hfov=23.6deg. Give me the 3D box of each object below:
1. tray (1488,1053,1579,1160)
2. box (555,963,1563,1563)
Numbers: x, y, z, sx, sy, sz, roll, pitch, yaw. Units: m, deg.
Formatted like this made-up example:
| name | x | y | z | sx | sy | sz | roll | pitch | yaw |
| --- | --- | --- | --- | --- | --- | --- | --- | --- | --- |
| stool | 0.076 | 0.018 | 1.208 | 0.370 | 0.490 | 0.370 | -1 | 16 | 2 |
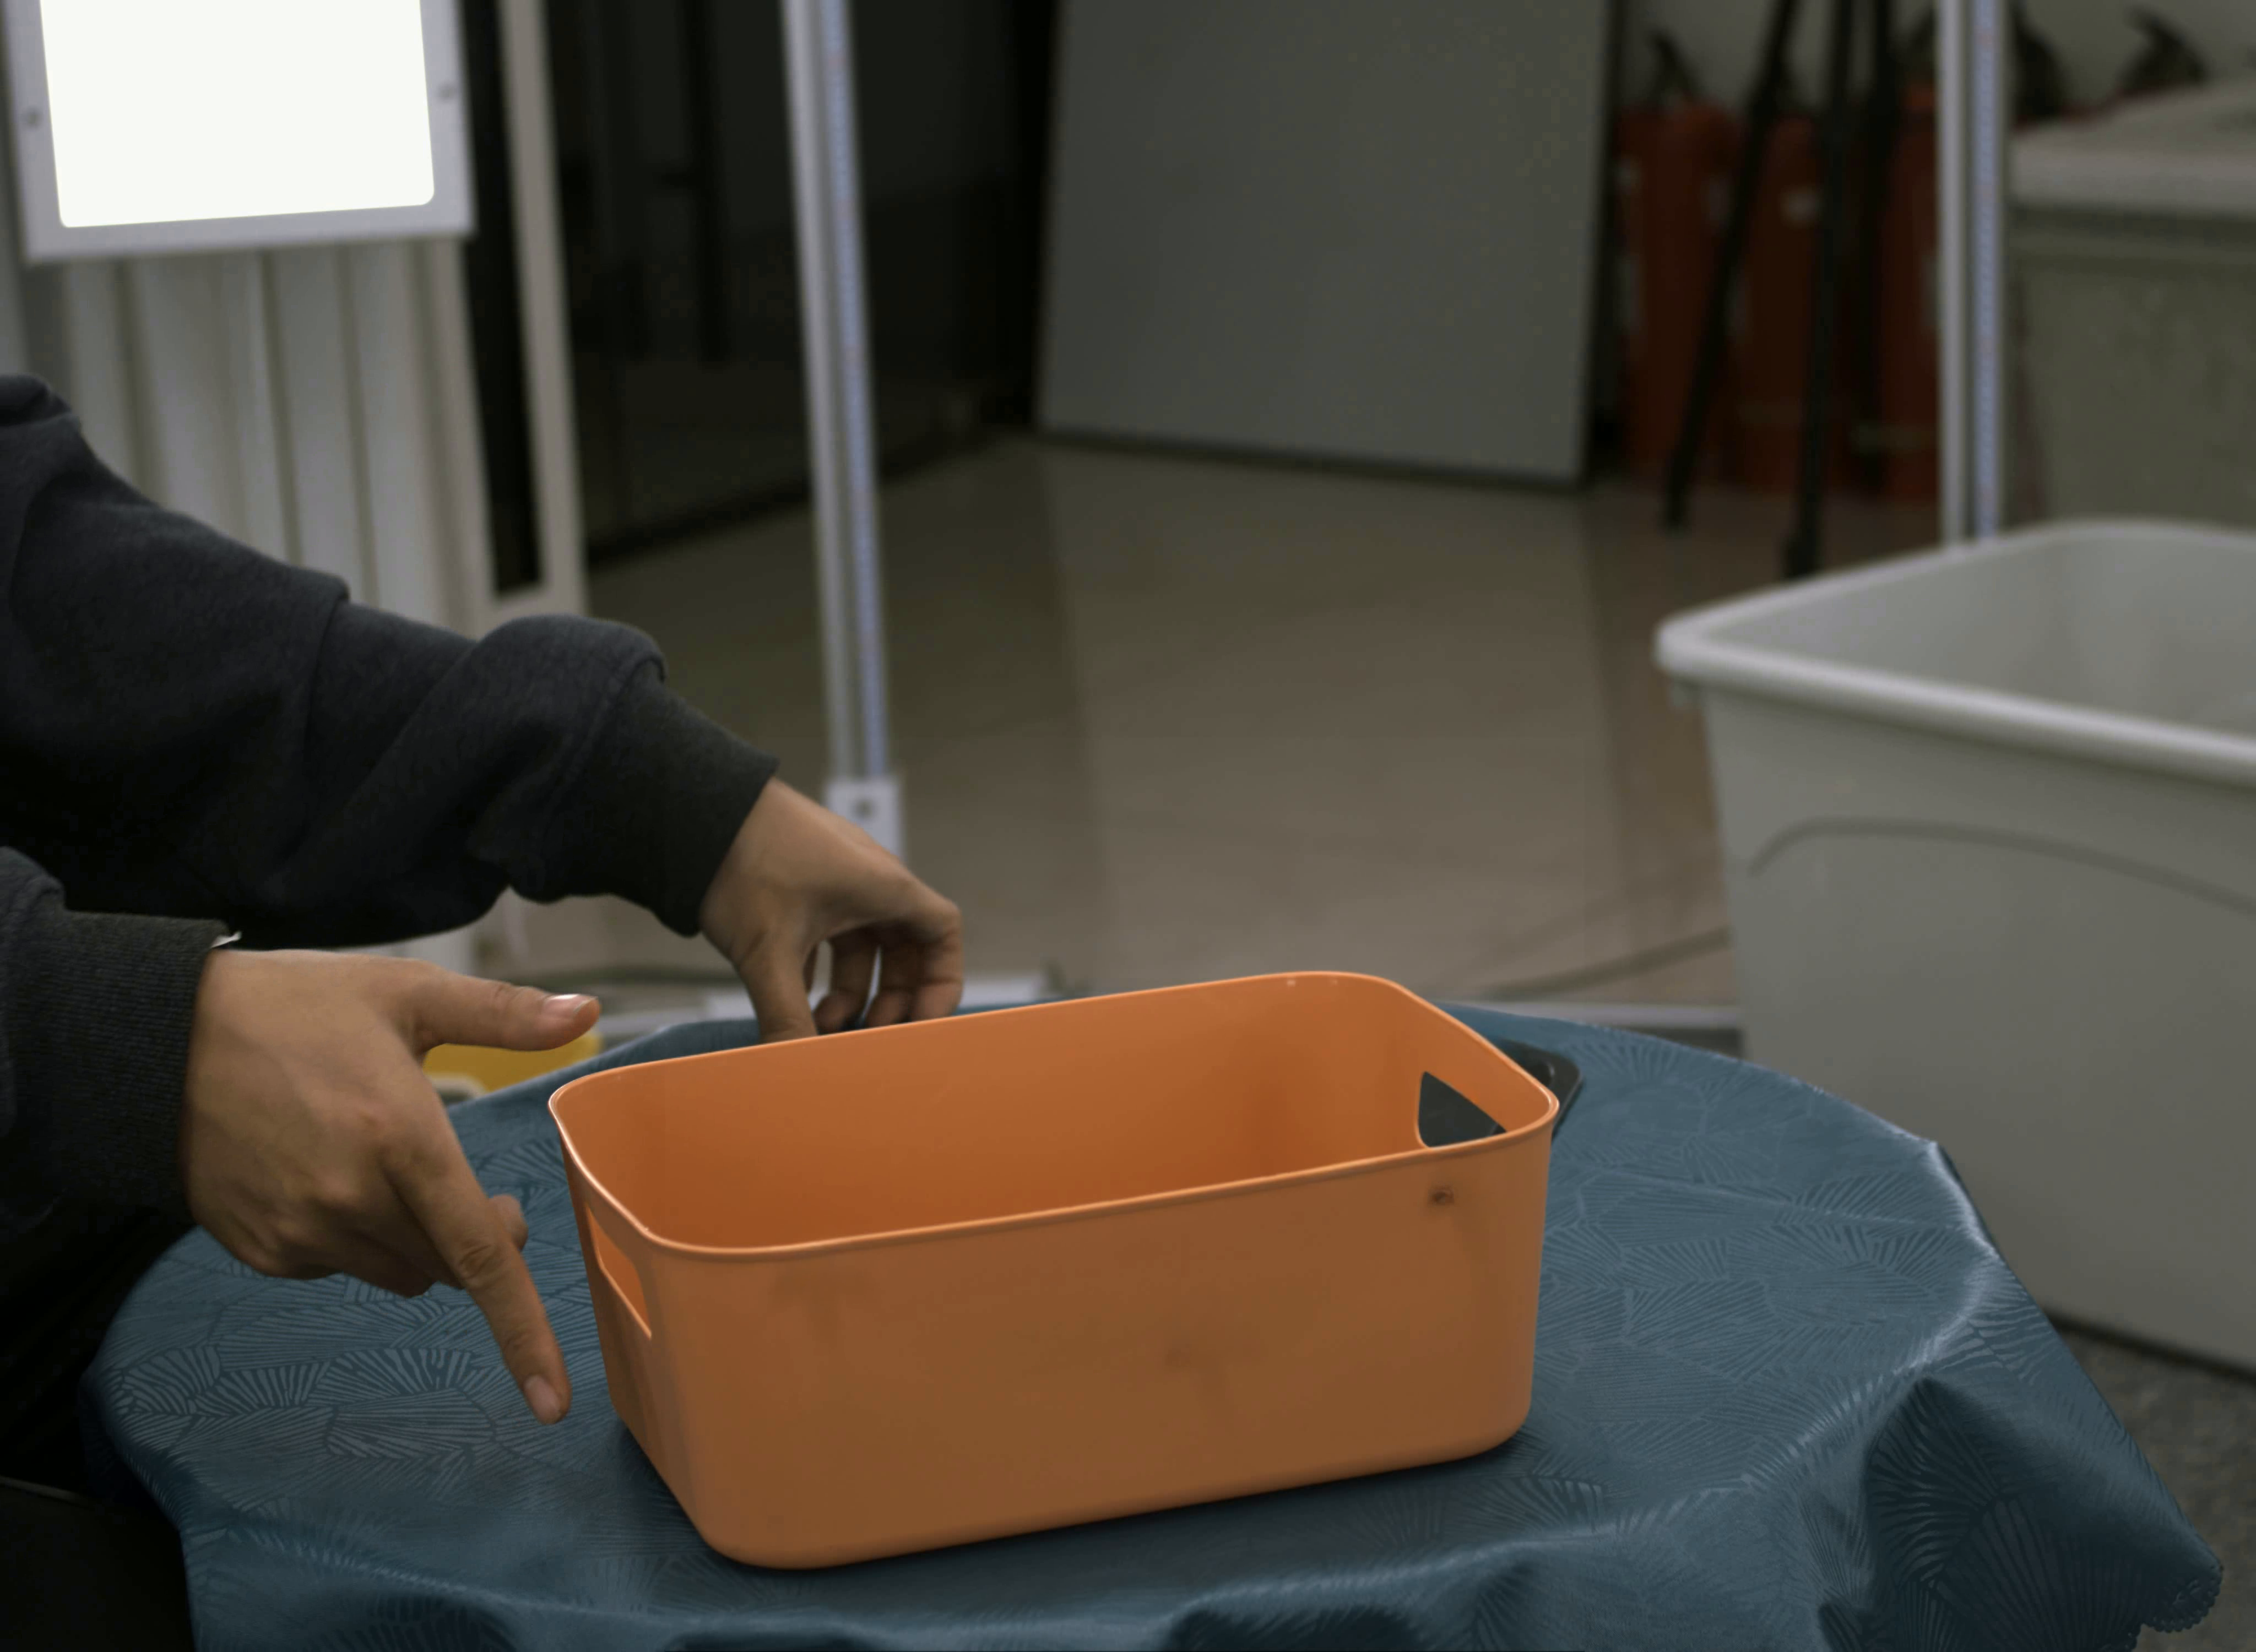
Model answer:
| name | x | y | z | sx | sy | sz | roll | pitch | yaw |
| --- | --- | --- | --- | --- | --- | --- | --- | --- | --- |
| tray | -0.015 | 0.104 | 1.831 | 0.324 | 0.010 | 0.209 | 0 | 14 | 16 |
| box | -0.020 | 0.122 | 1.547 | 0.268 | 0.104 | 0.201 | -7 | 14 | -15 |
